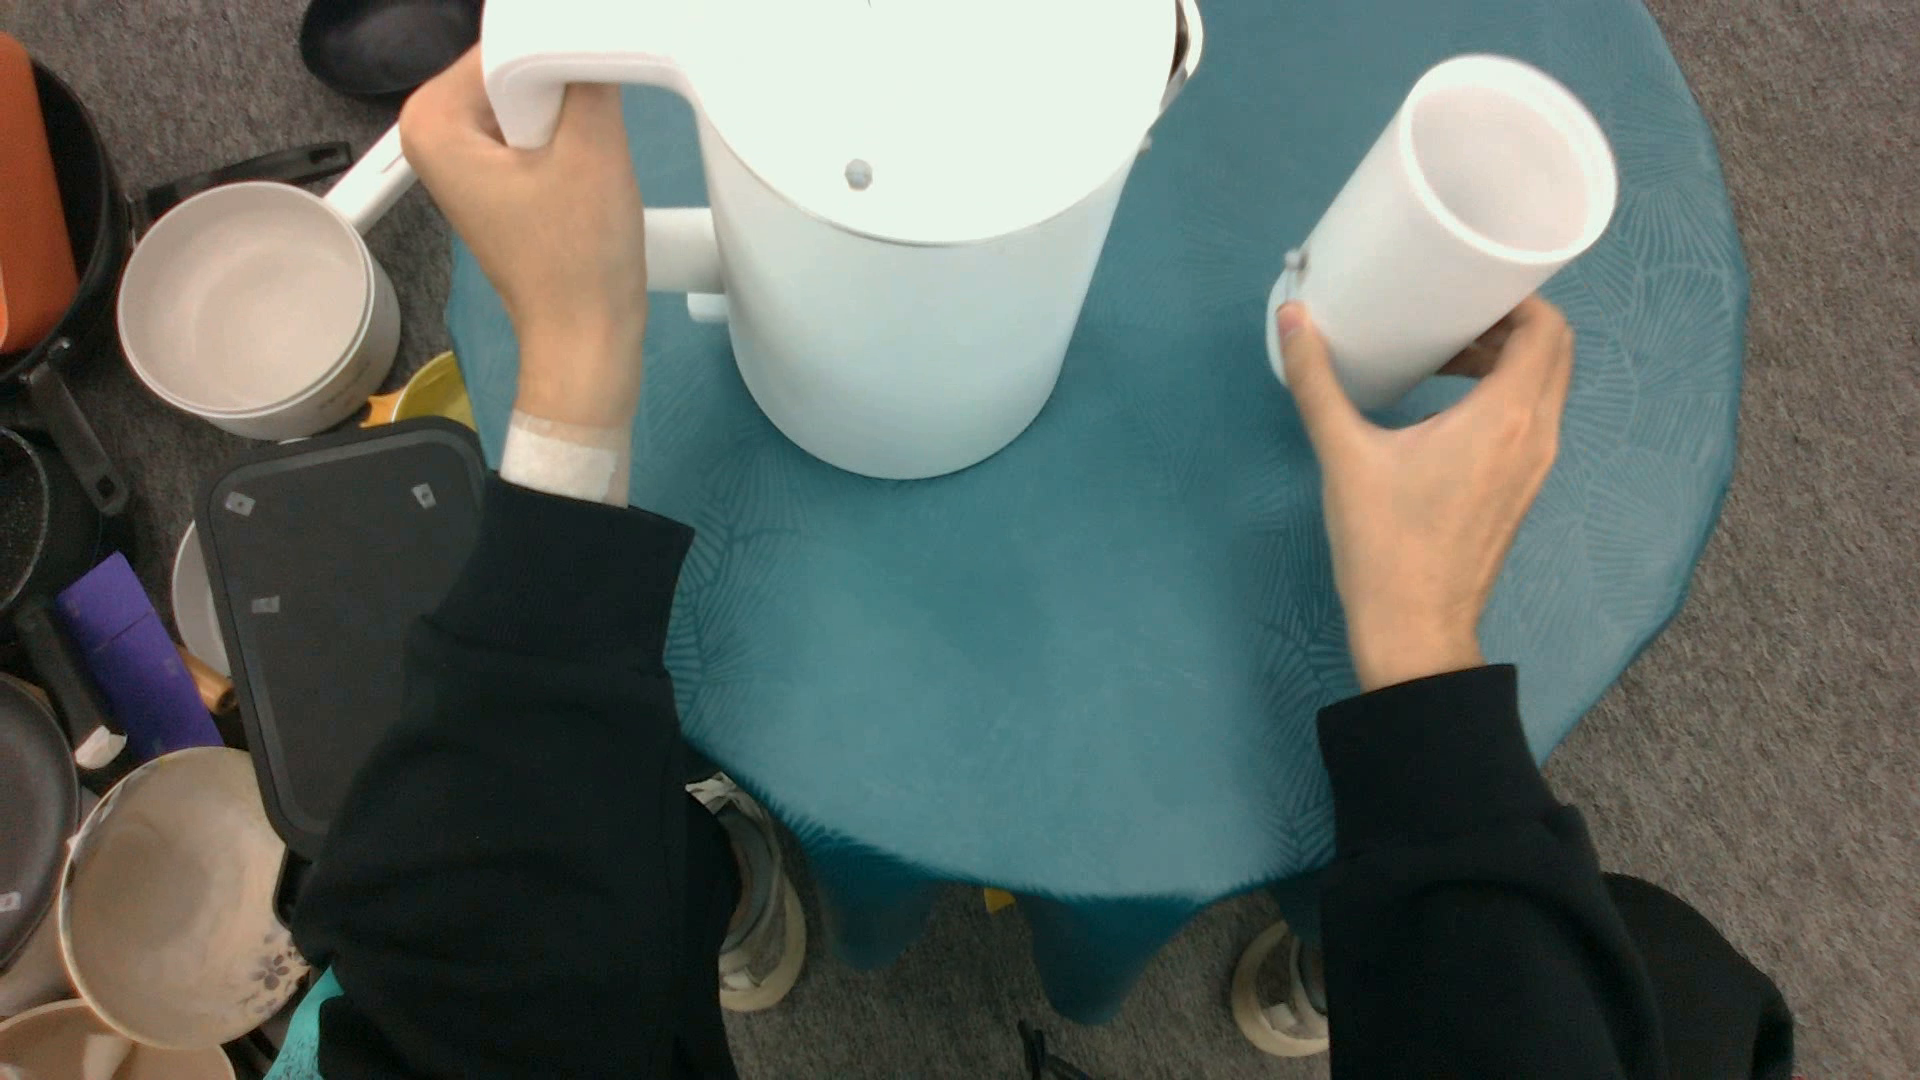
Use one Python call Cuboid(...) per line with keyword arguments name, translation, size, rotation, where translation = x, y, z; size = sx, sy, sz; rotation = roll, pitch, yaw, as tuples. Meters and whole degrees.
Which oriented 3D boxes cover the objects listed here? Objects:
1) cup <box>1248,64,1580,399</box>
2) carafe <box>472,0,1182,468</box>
Cuboid(name="cup", translation=(0.168, -0.113, 0.539), size=(0.082, 0.125, 0.082), rotation=(5, 69, -12))
Cuboid(name="carafe", translation=(-0.049, -0.132, 0.506), size=(0.213, 0.239, 0.152), rotation=(0, 76, -6))
